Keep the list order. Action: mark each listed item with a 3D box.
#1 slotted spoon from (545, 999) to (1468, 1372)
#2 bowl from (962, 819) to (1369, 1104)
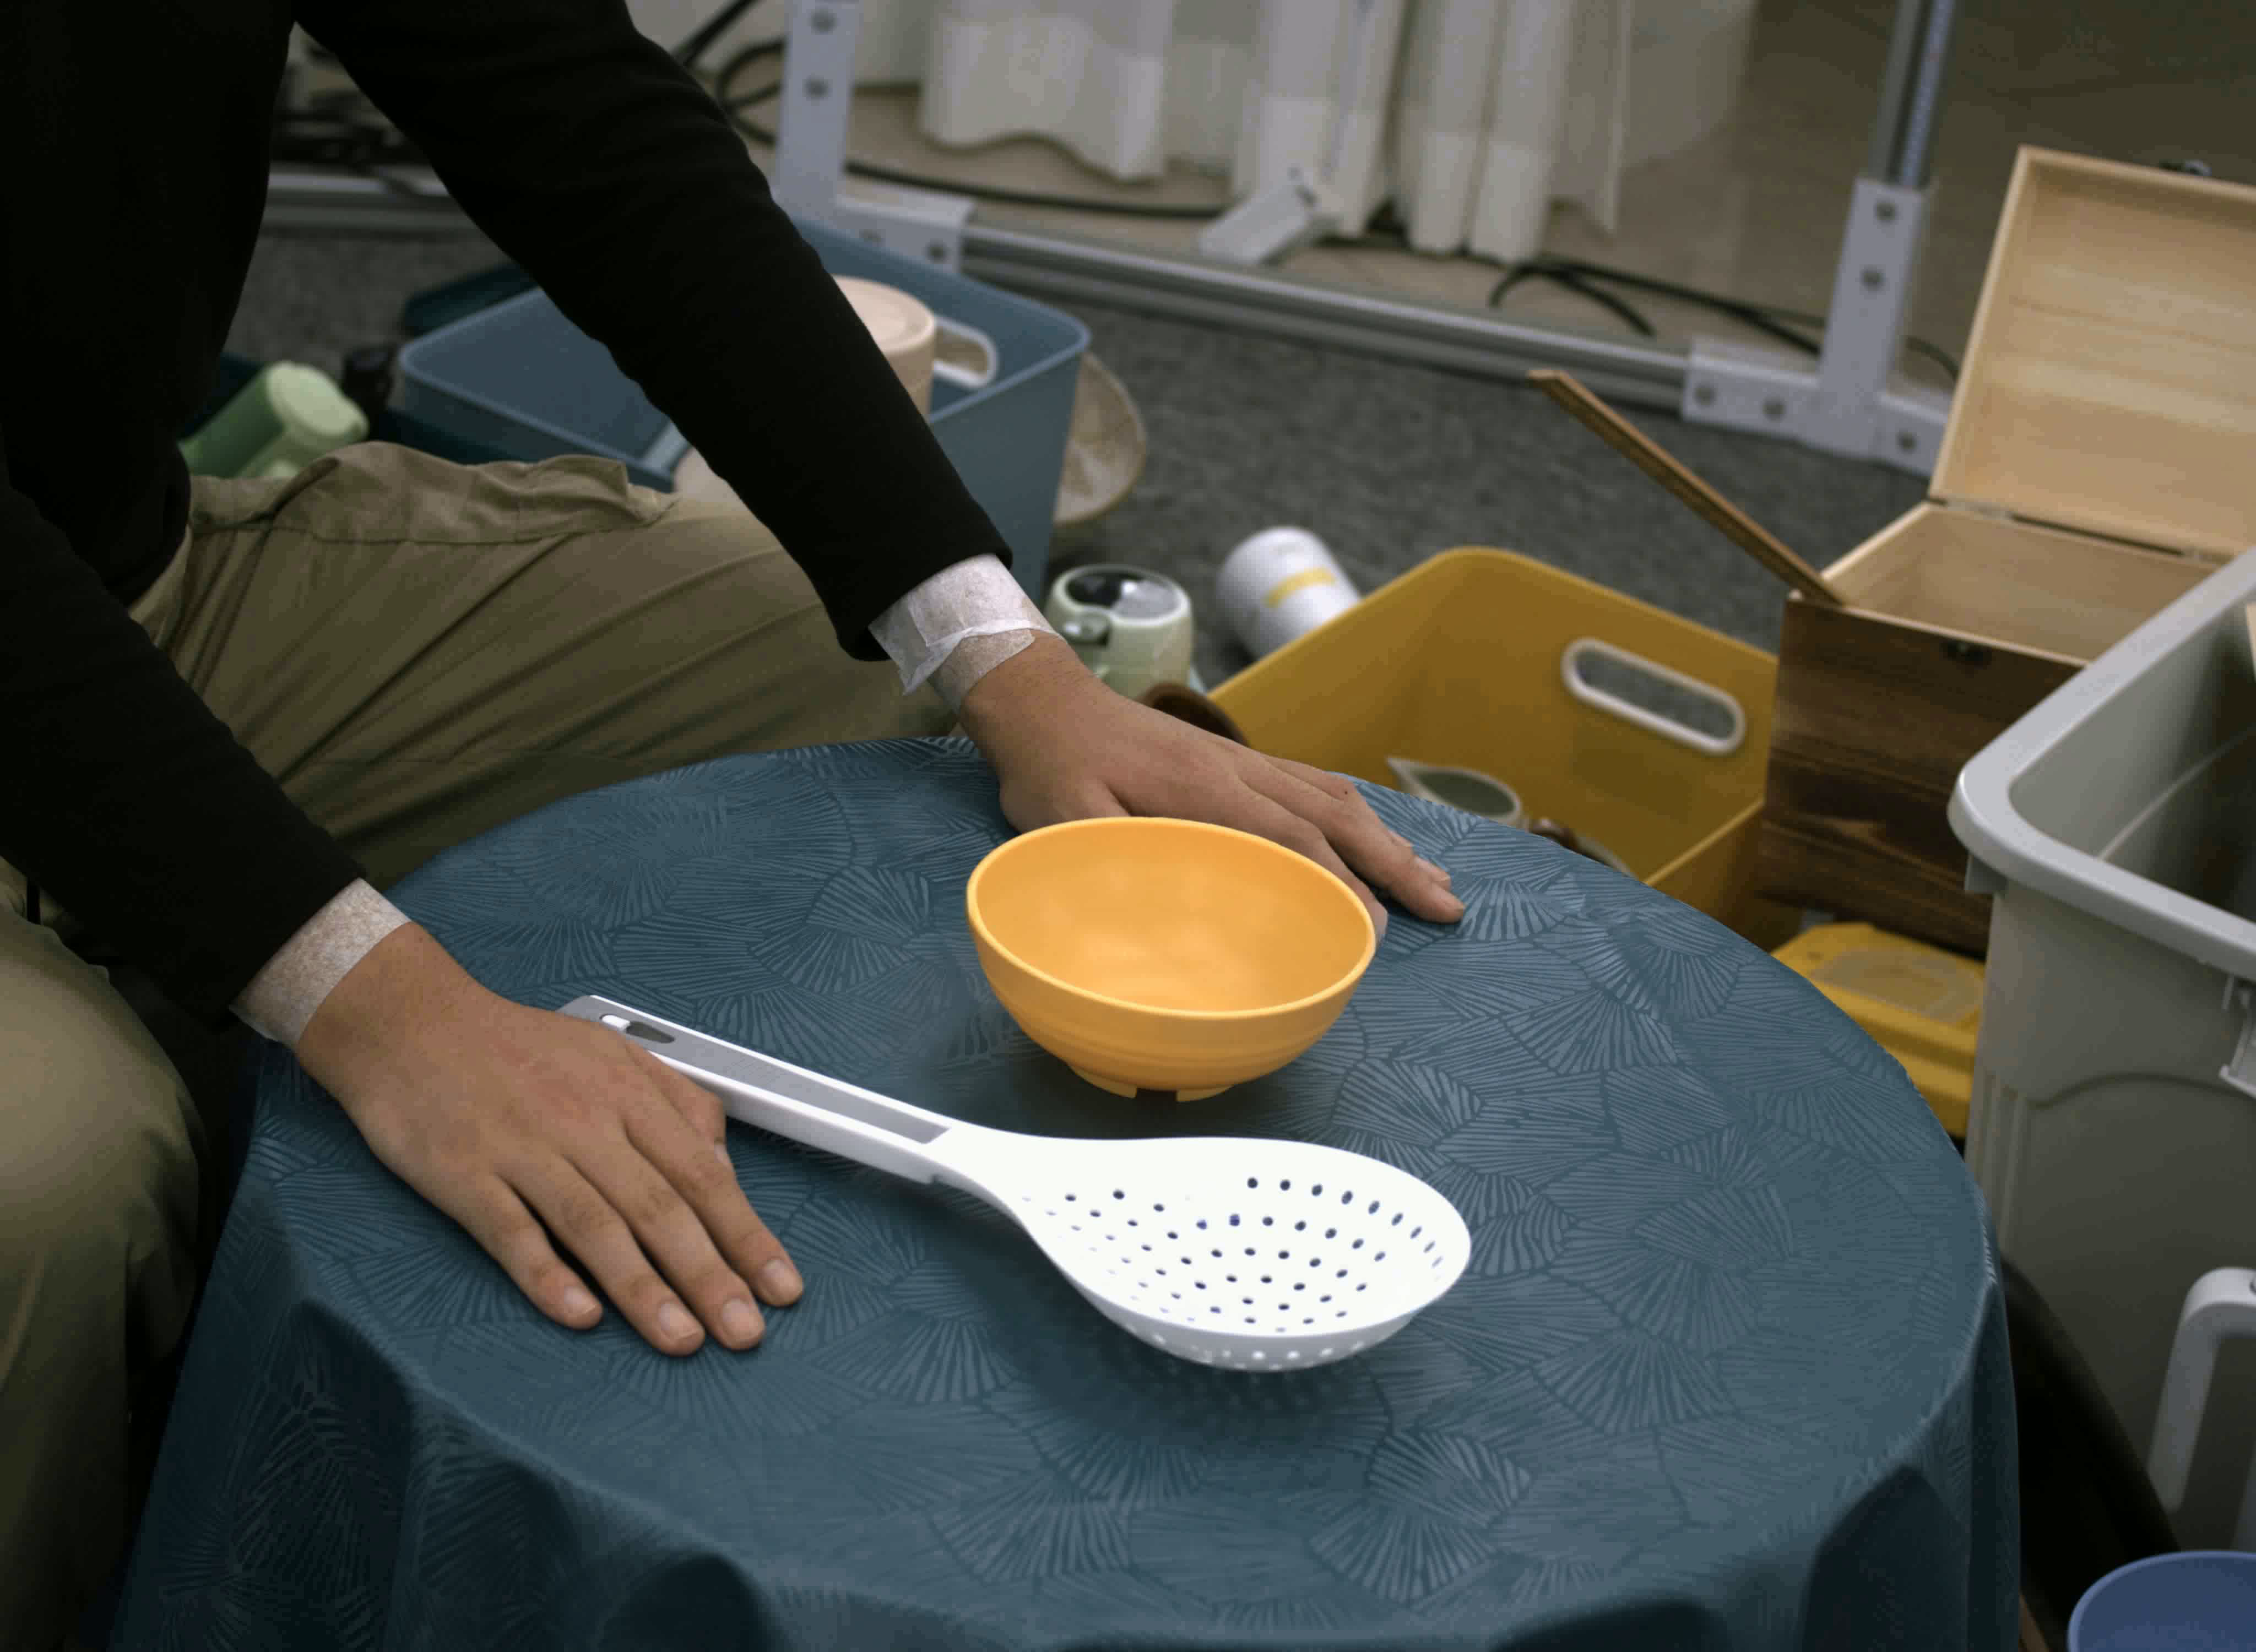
[{"bbox_3d":[-0.050,0.112,1.763,0.351,0.045,0.135,20,29,27],"label":"slotted spoon"},{"bbox_3d":[0.009,0.057,1.874,0.145,0.060,0.146,7,26,-4],"label":"bowl"}]
